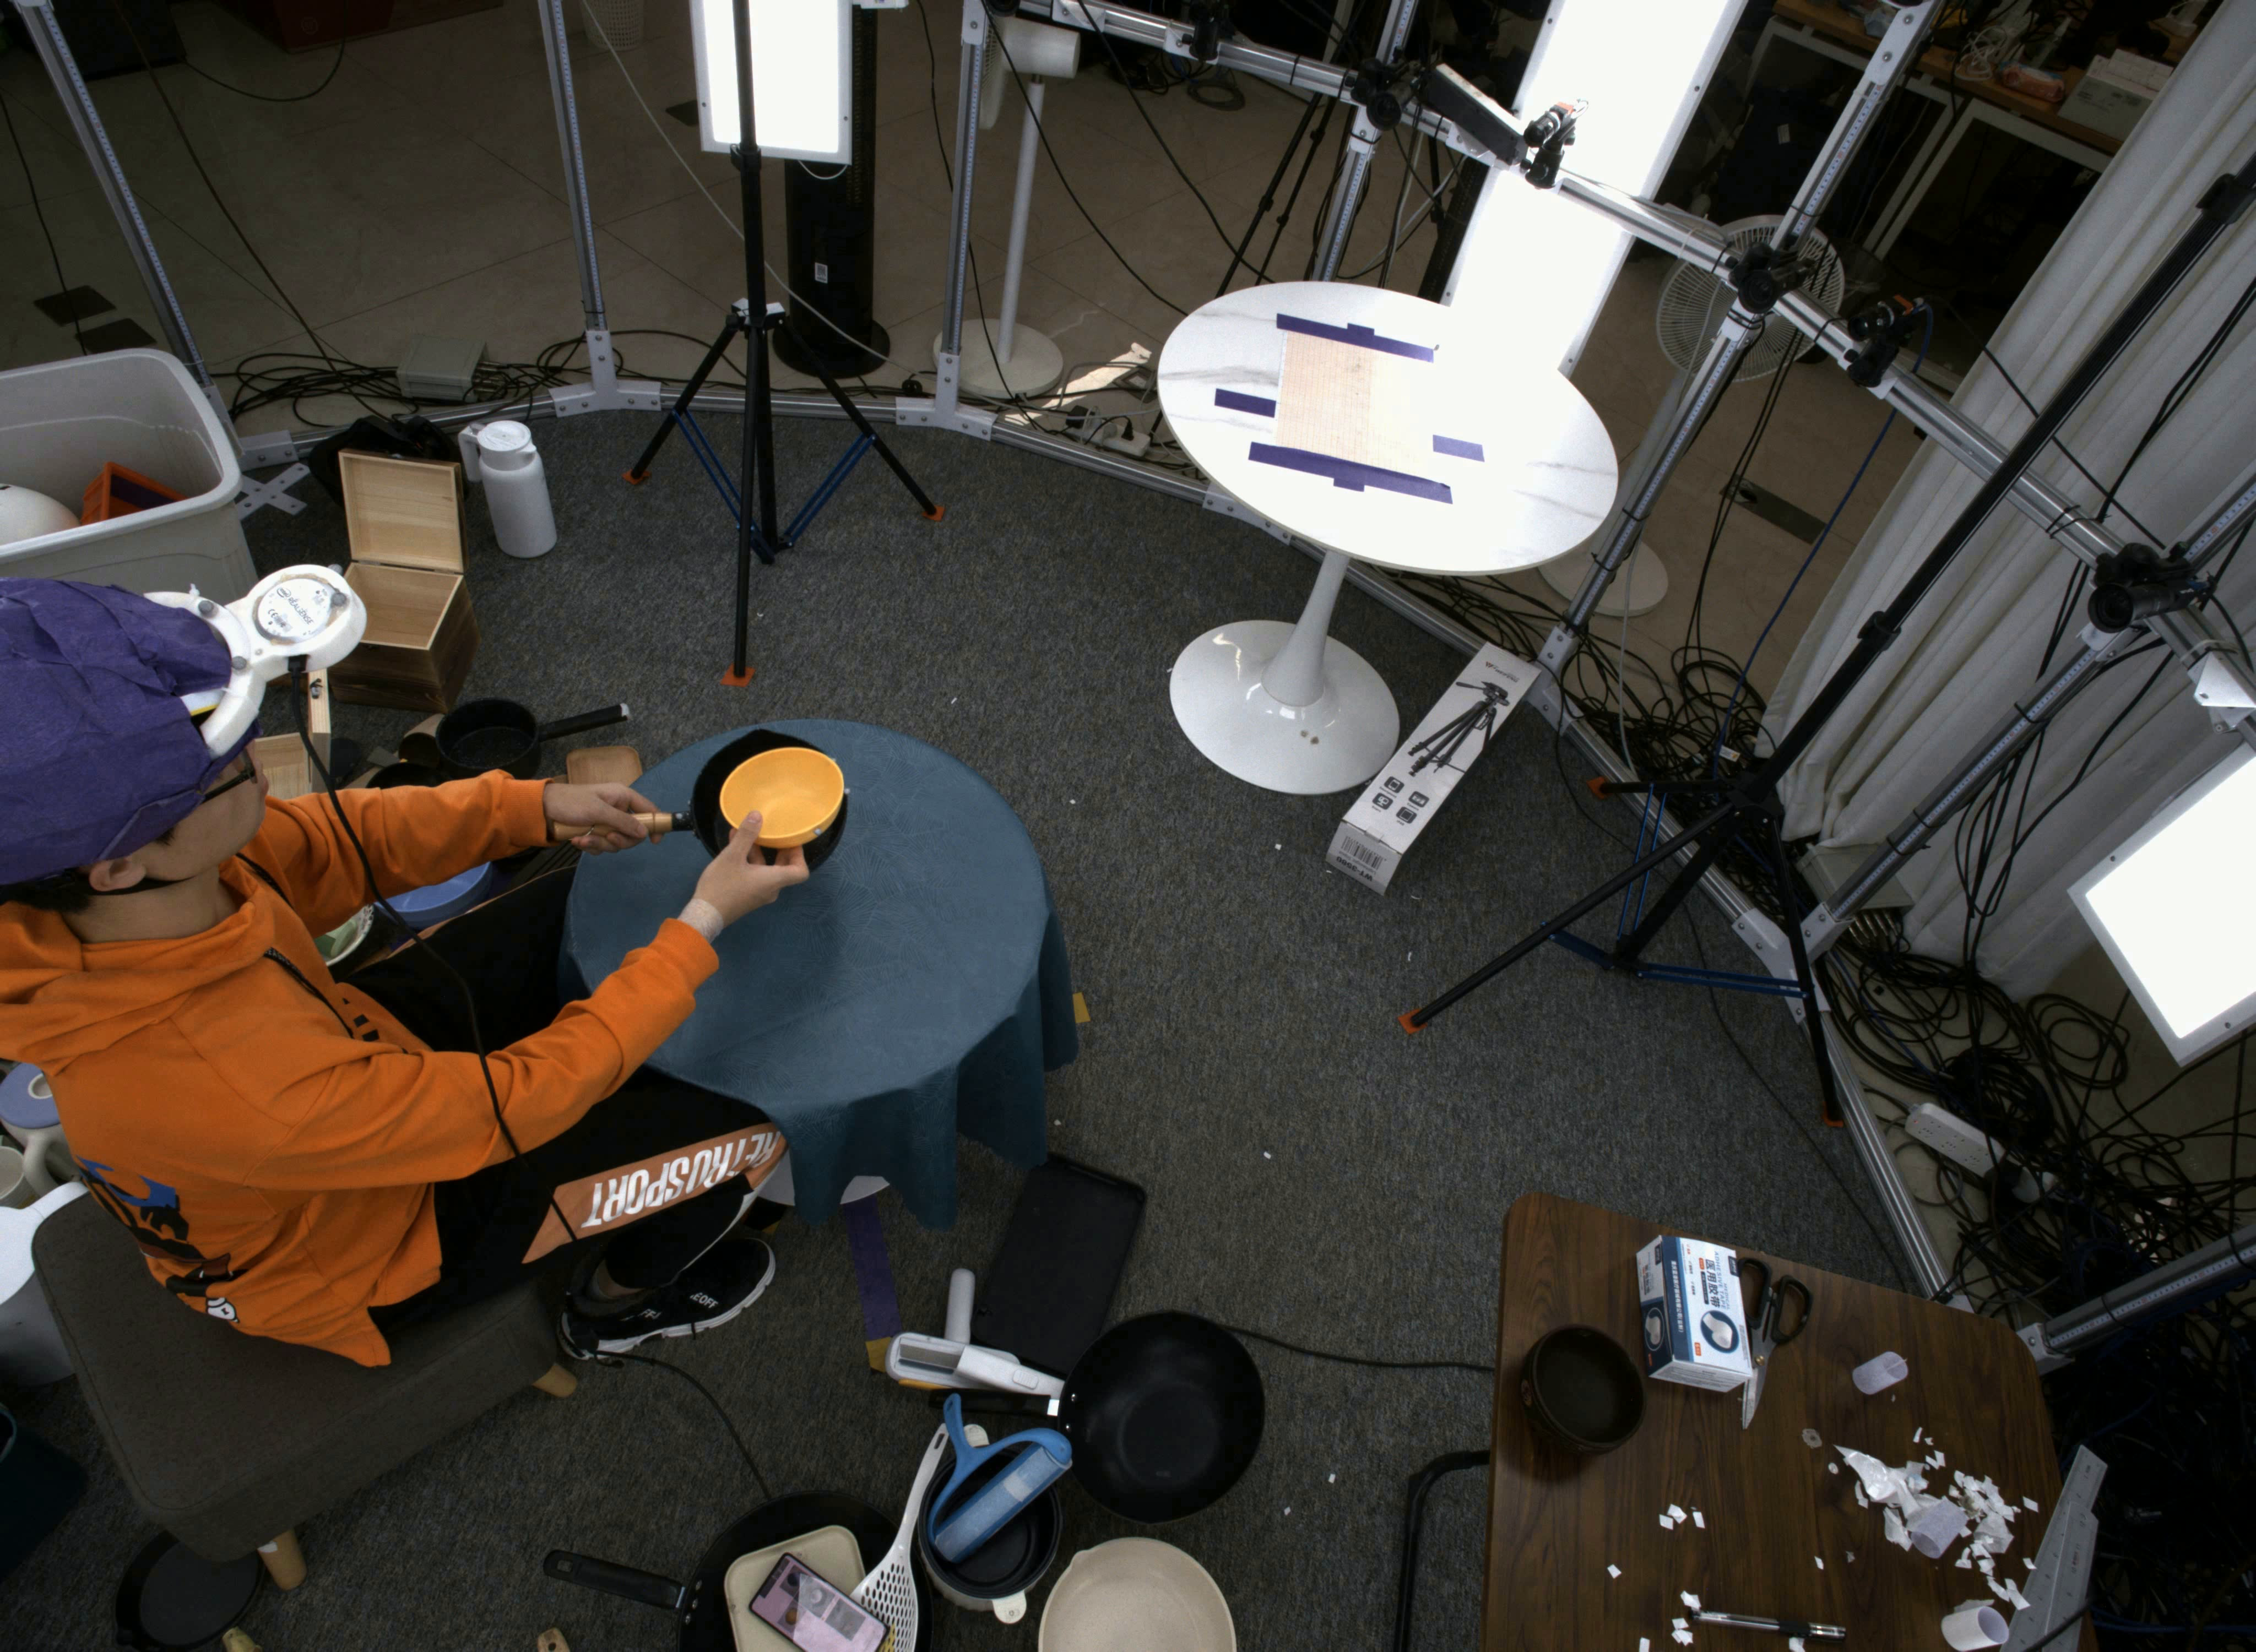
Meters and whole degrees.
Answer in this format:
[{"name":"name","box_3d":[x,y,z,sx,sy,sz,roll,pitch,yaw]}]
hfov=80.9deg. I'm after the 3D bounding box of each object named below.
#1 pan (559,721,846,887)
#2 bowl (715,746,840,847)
[{"name":"pan","box_3d":[-0.510,-0.007,1.543,0.344,0.108,0.206,-10,75,-19]},{"name":"bowl","box_3d":[-0.401,-0.024,1.506,0.143,0.062,0.142,1,47,1]}]
